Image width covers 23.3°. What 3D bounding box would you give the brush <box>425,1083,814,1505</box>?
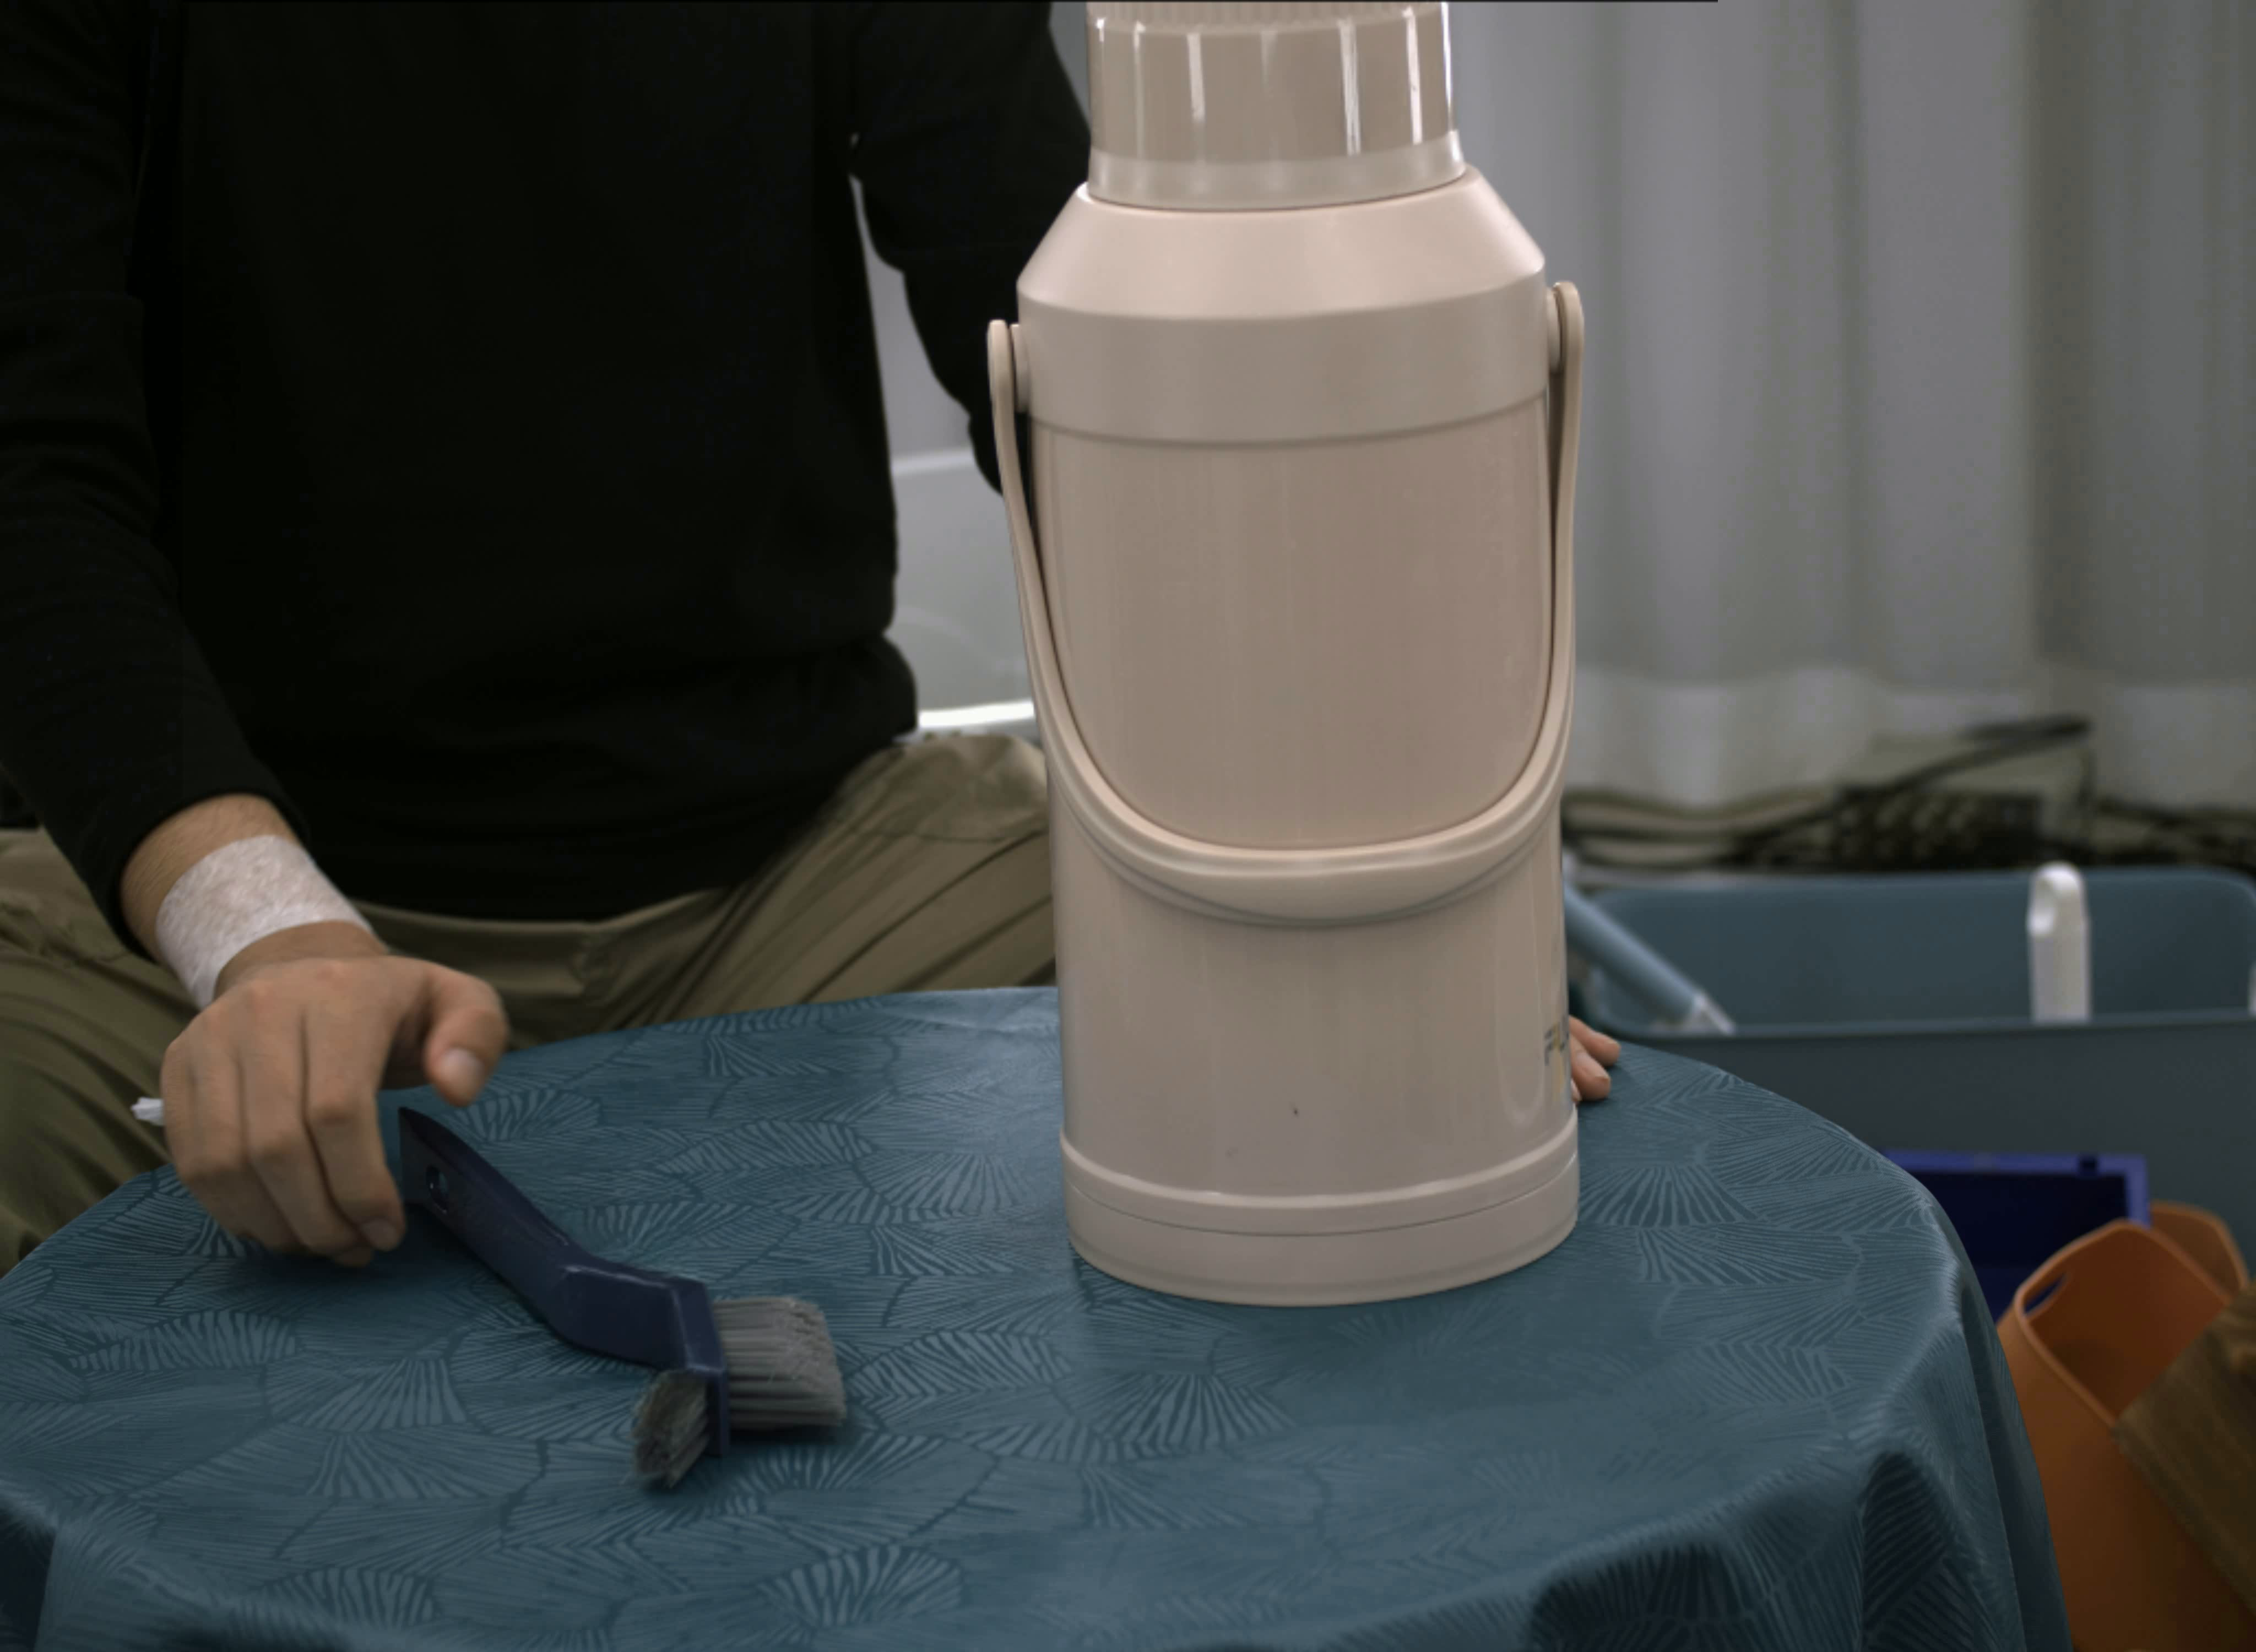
[{"bbox_3d":[-0.172,0.133,1.612,0.095,0.033,0.275,-11,19,-31],"label":"brush"}]

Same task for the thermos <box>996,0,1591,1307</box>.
[{"bbox_3d":[0.052,-0.074,1.647,0.174,0.405,0.208,-5,14,-5],"label":"thermos"}]
